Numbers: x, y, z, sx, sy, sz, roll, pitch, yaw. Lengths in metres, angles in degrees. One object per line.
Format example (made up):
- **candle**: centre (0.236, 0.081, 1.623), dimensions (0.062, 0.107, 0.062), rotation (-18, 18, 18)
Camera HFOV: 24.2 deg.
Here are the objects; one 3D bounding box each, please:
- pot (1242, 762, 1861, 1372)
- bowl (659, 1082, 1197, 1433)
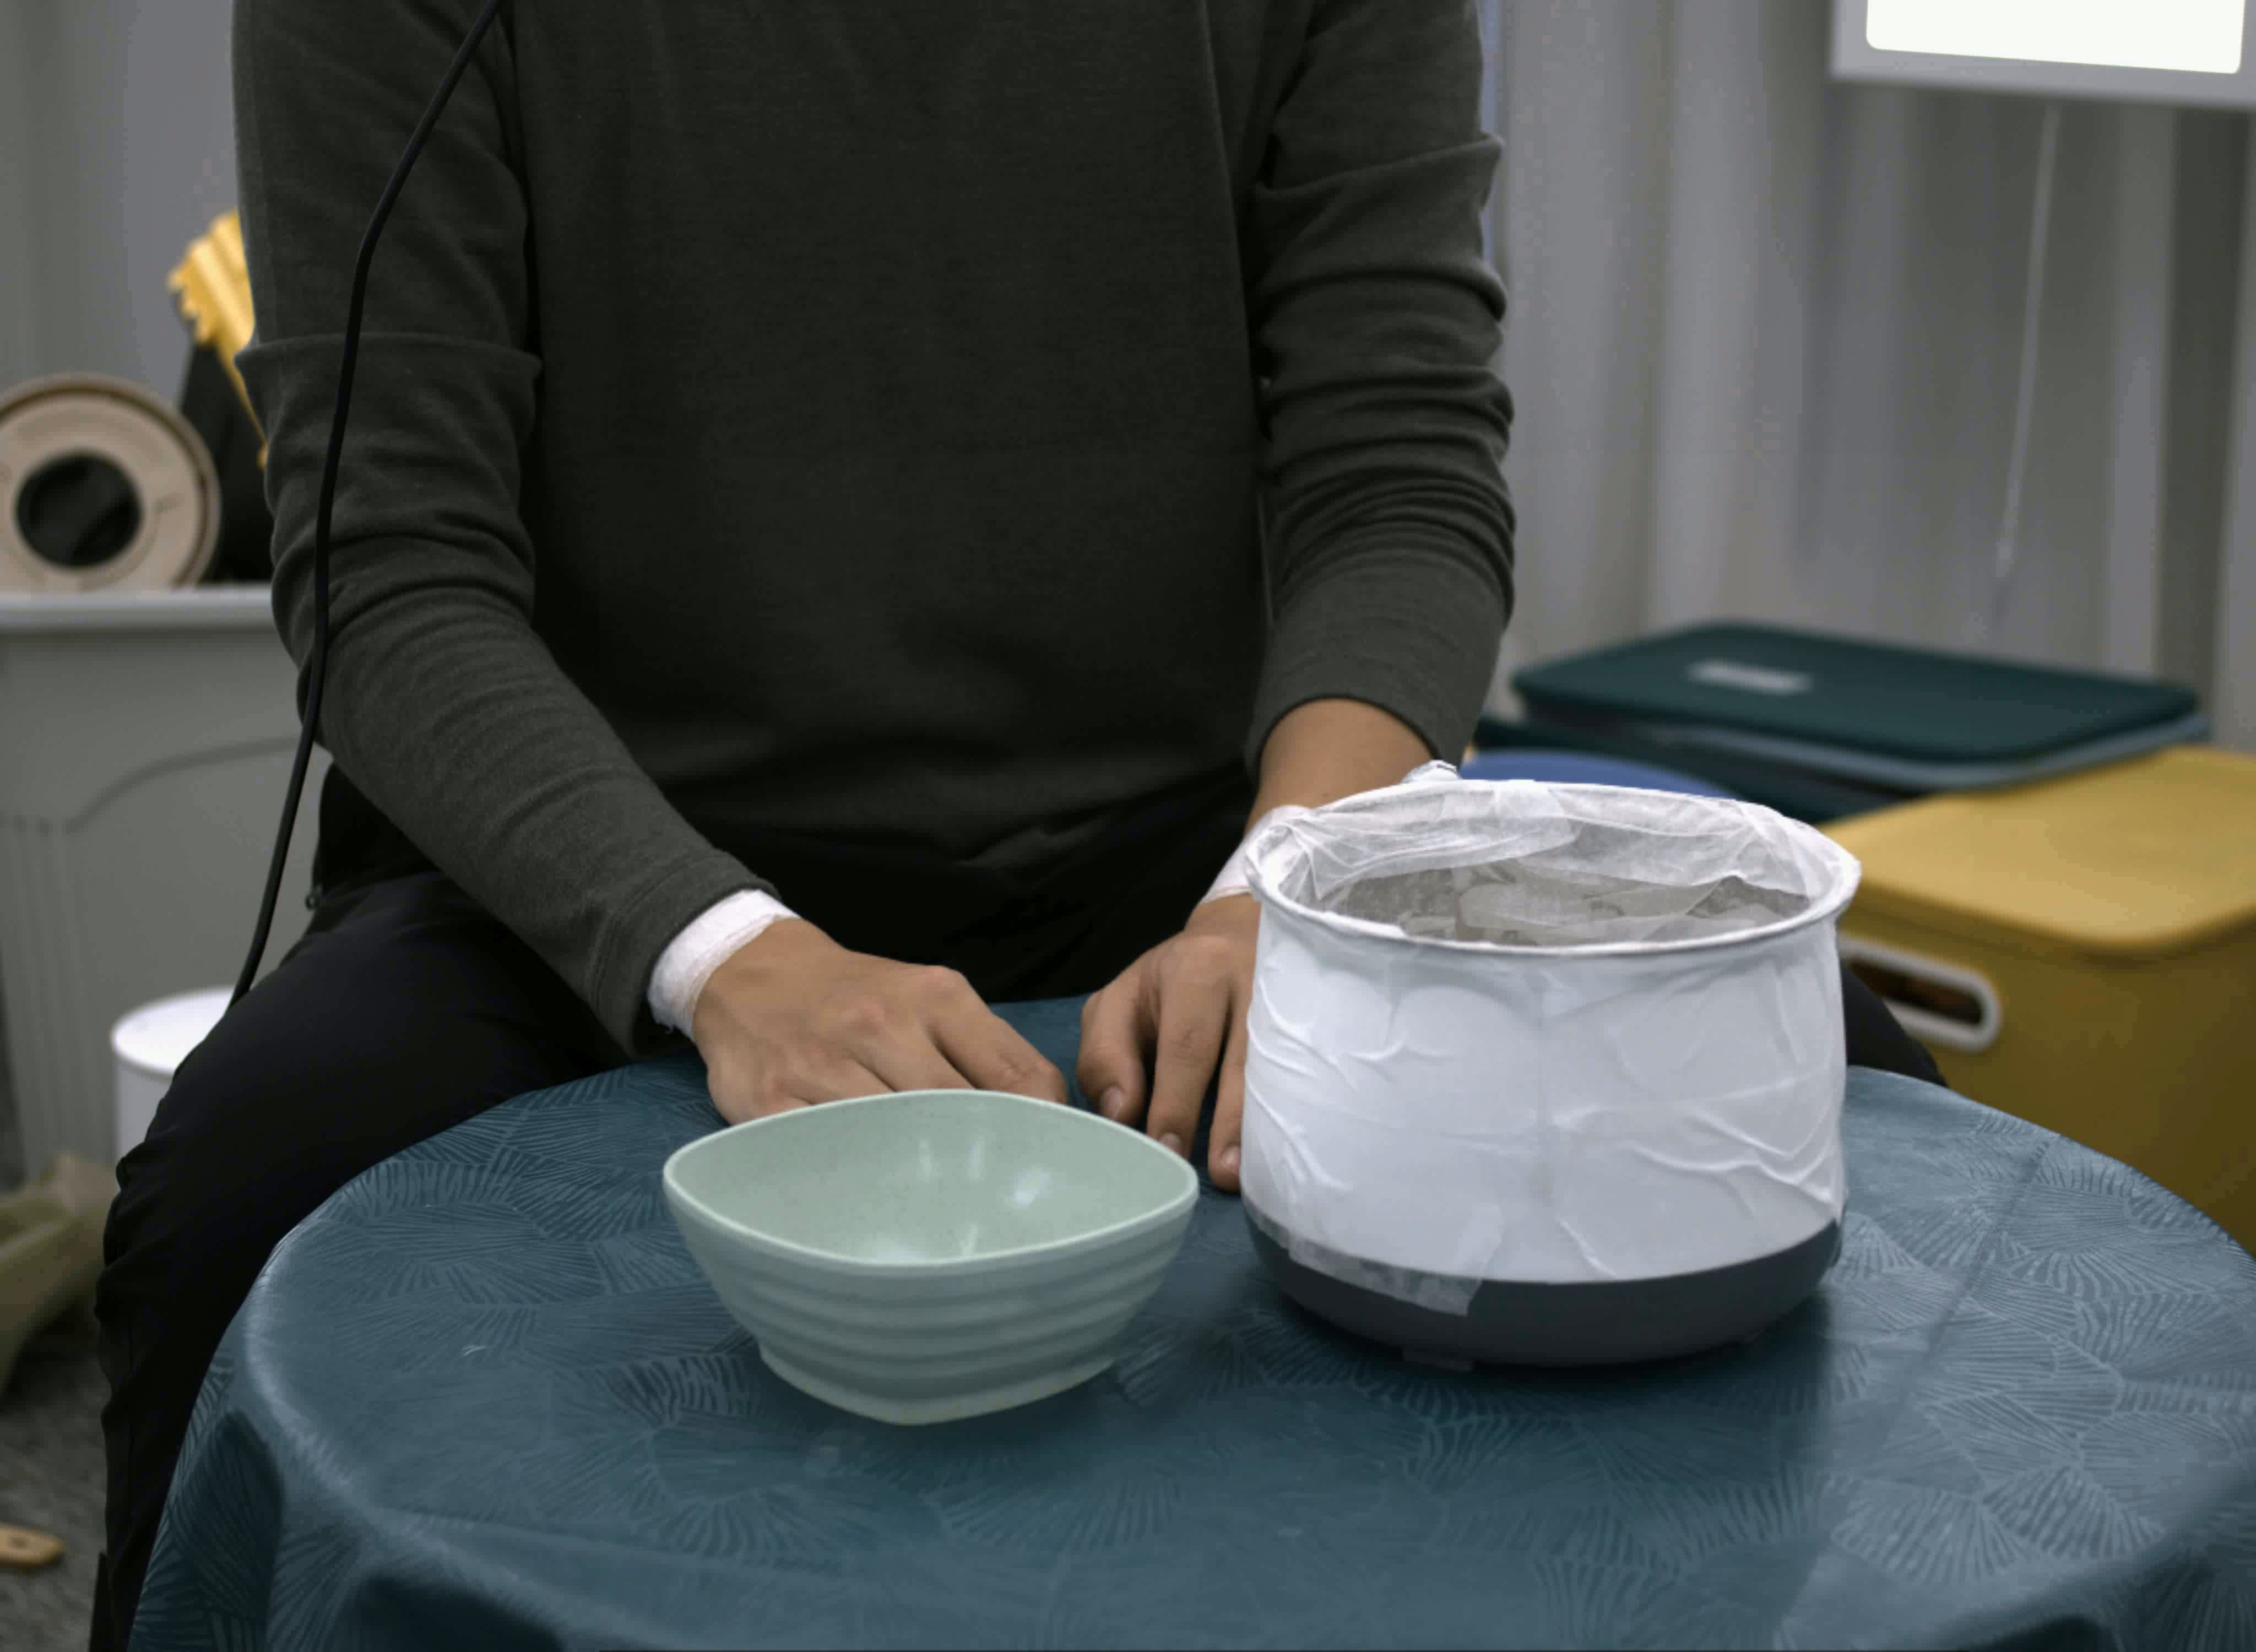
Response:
- **pot**: centre (0.113, 0.065, 1.547), dimensions (0.179, 0.138, 0.231), rotation (-5, 16, -17)
- **bowl**: centre (-0.056, 0.124, 1.475), dimensions (0.151, 0.059, 0.150), rotation (1, 17, 0)
